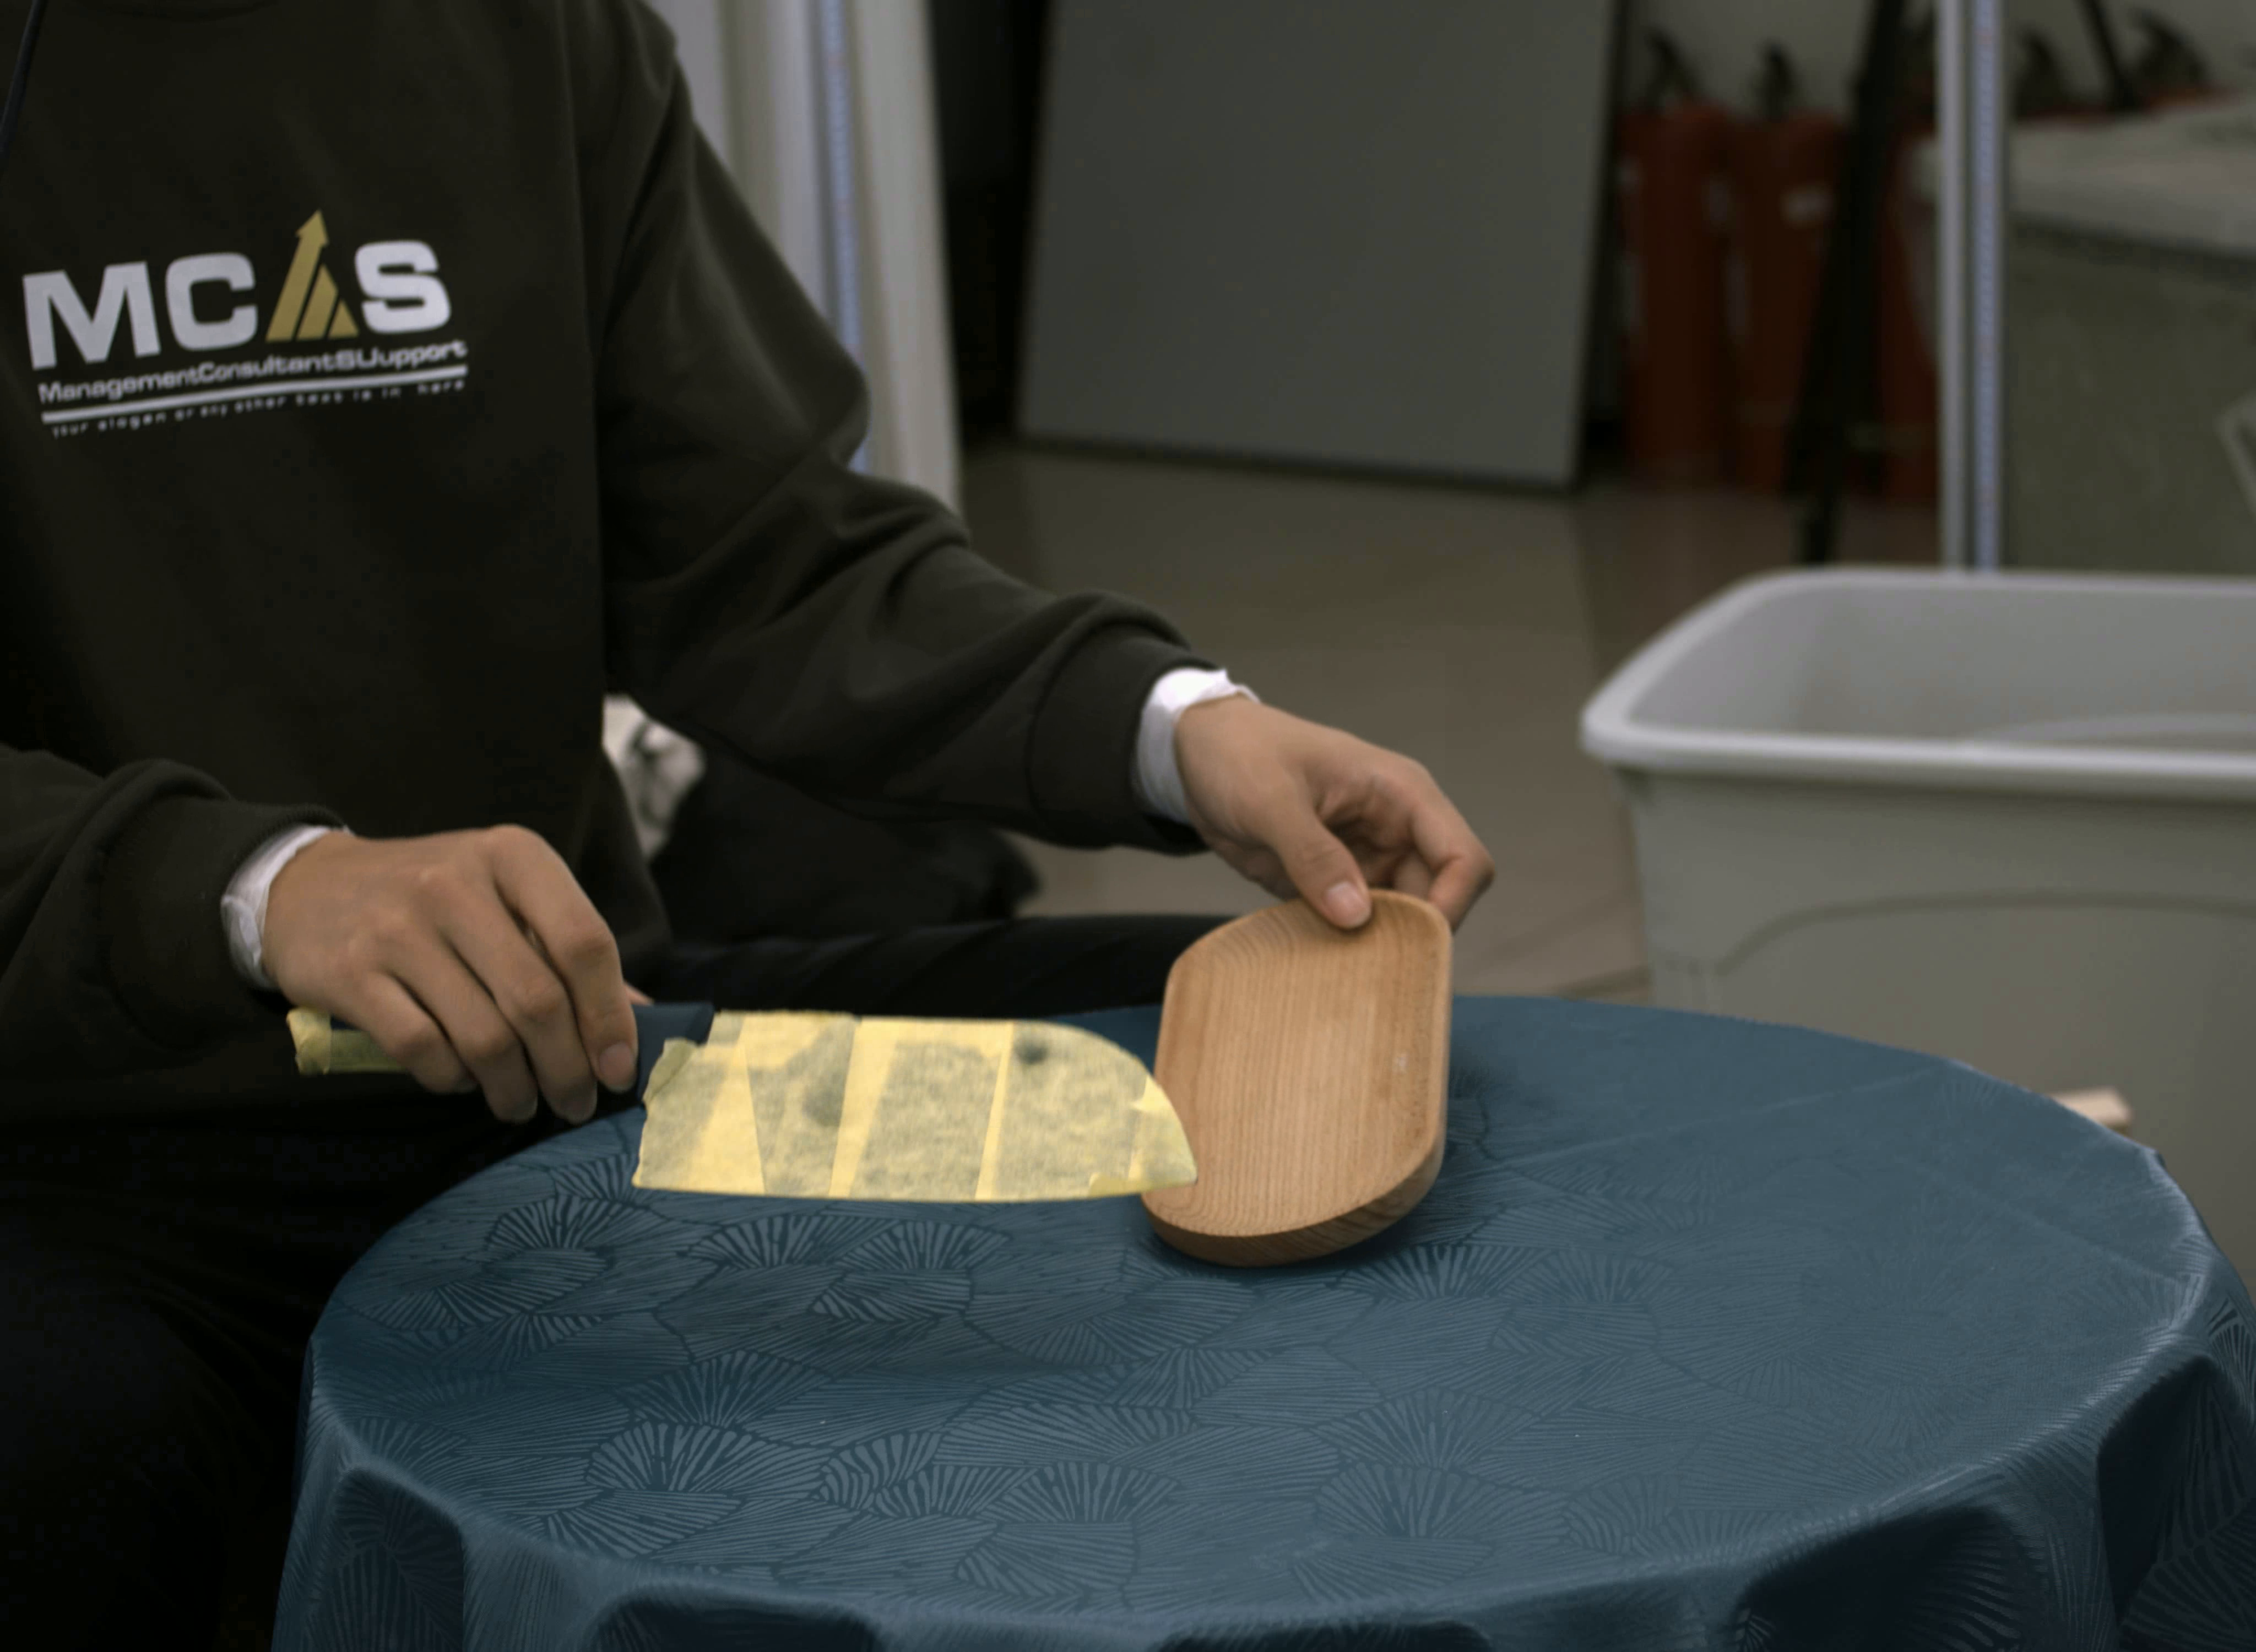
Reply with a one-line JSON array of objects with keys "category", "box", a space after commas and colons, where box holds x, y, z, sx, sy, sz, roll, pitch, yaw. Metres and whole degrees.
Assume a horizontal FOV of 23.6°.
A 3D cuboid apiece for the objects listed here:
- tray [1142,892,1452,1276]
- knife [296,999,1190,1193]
[{"category": "tray", "box": [0.058, 0.082, 1.777, 0.101, 0.020, 0.231, -14, 26, 11]}, {"category": "knife", "box": [-0.120, 0.081, 1.649, 0.288, 0.027, 0.081, 2, 47, 13]}]
